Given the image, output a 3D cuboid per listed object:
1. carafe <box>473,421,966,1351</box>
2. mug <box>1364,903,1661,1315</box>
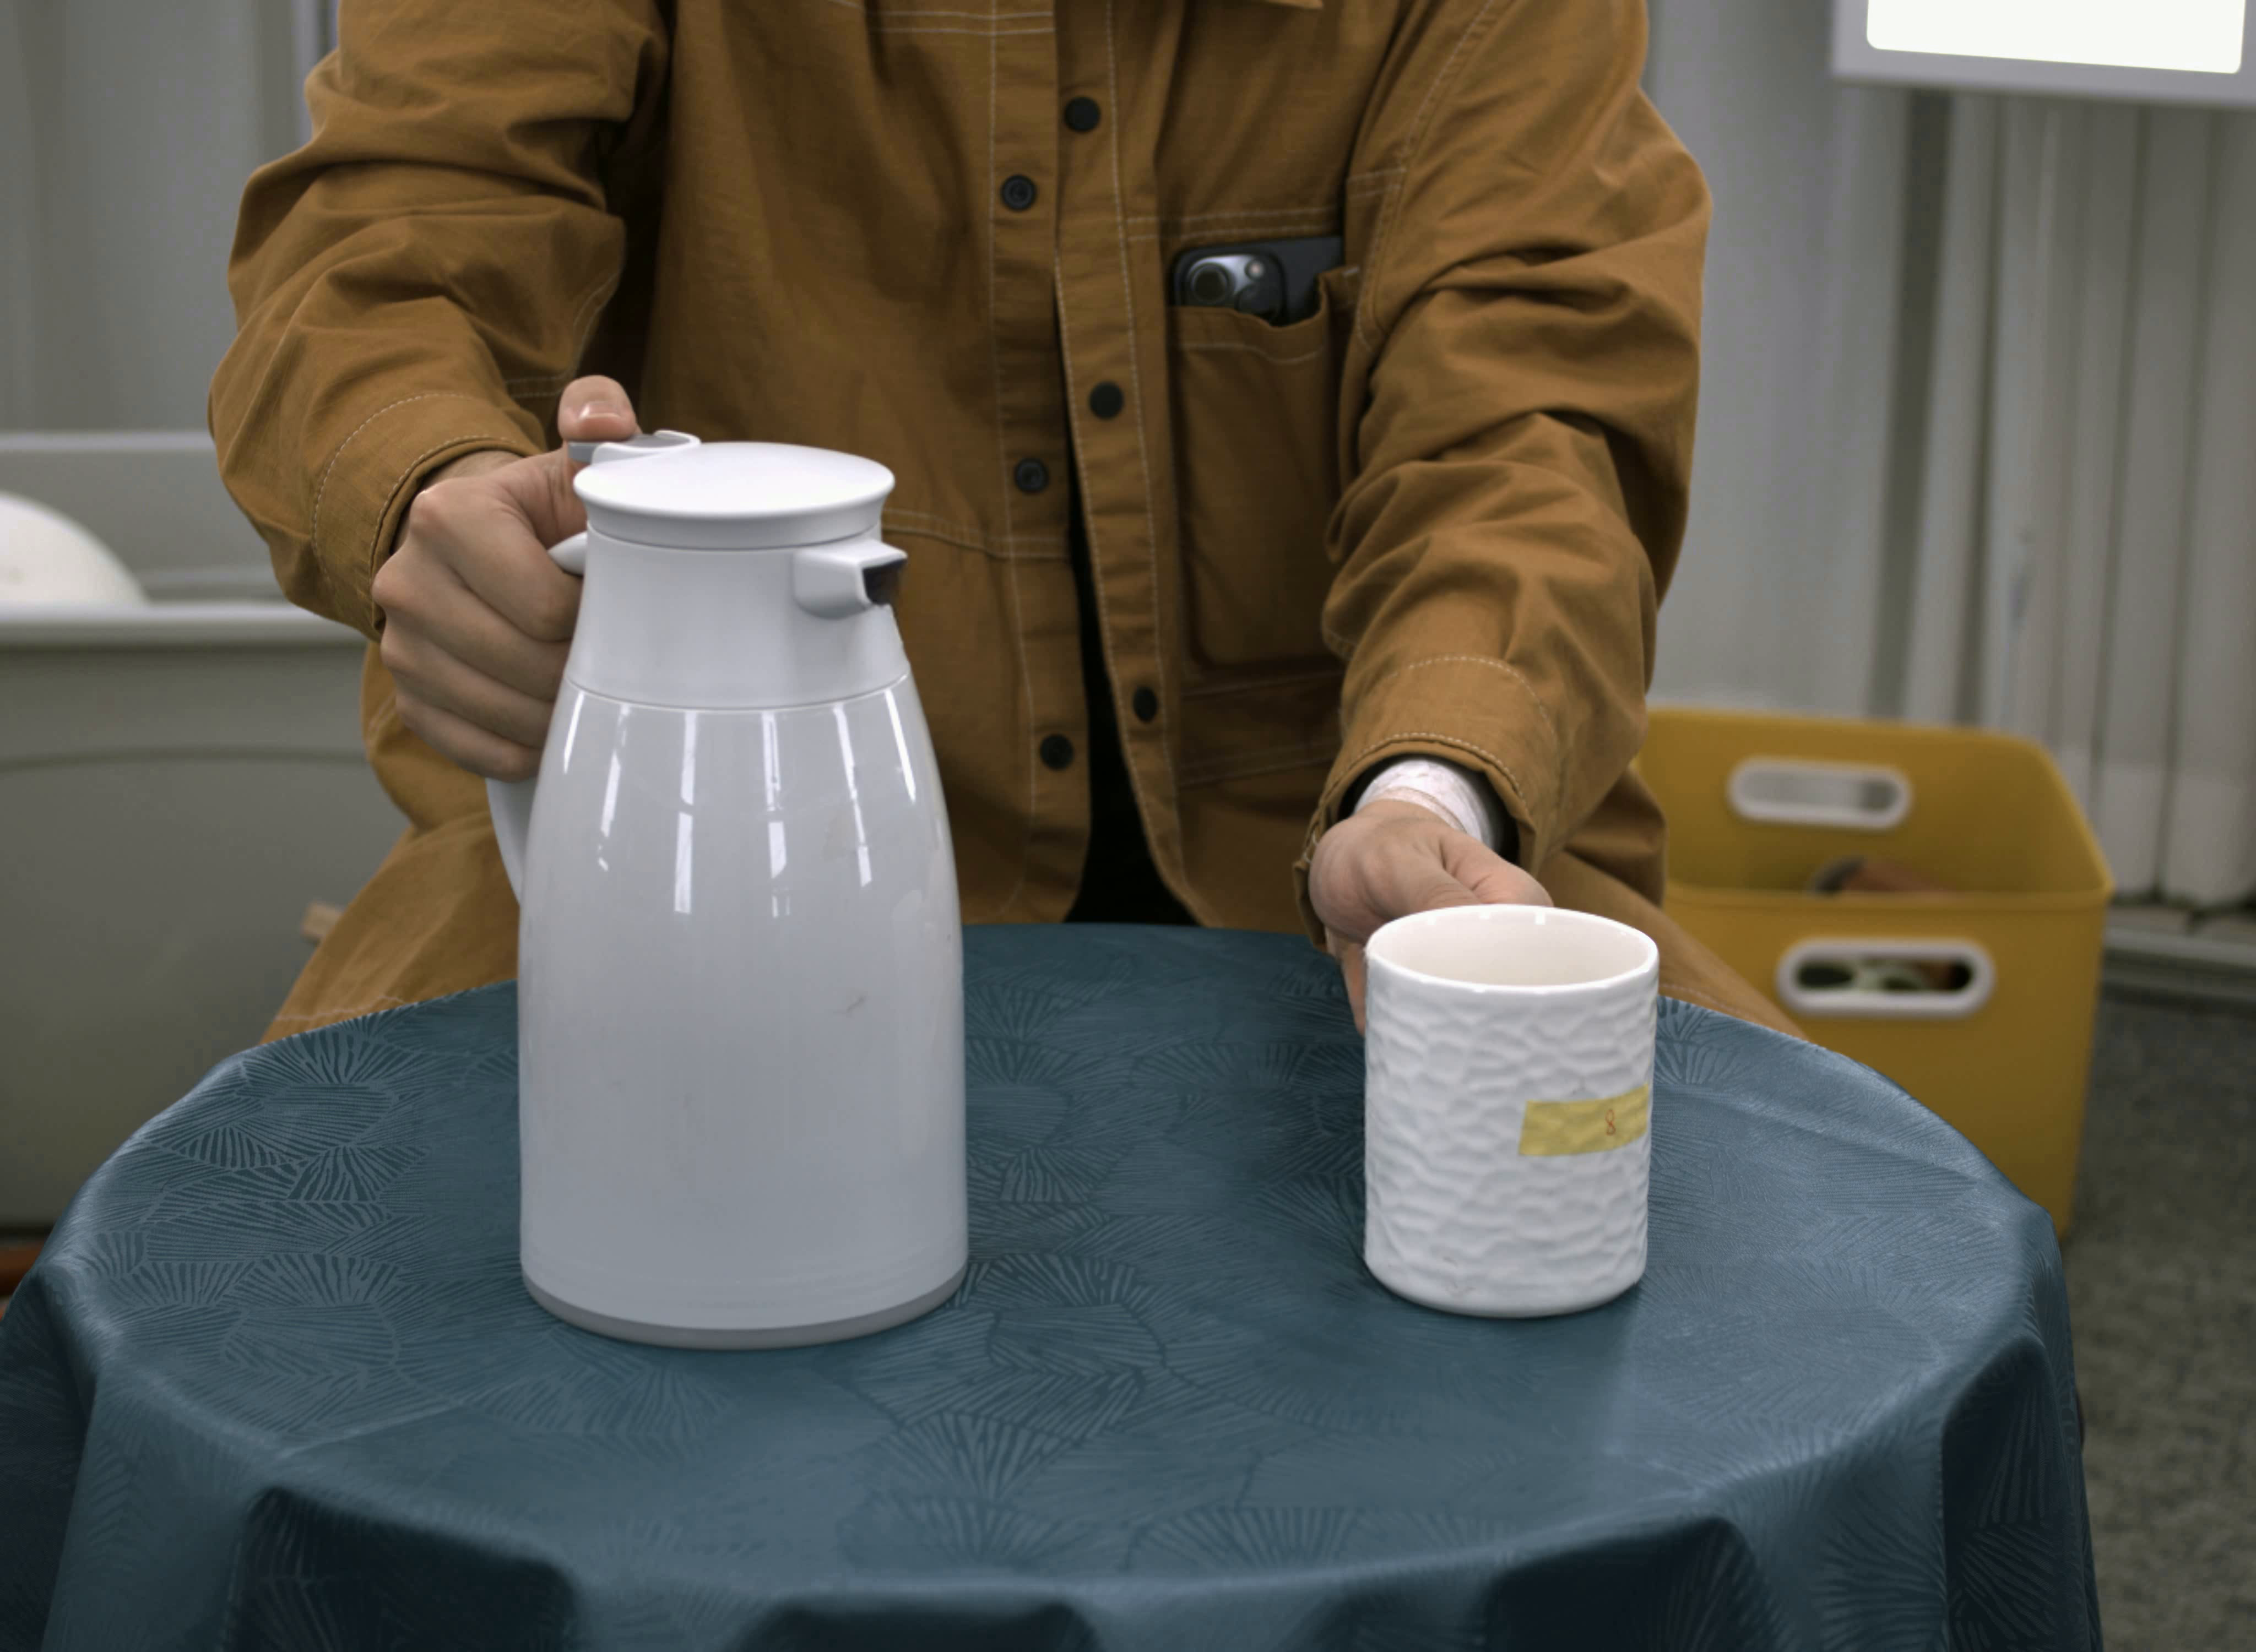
[{"bbox_3d":[-0.128,0.009,1.526,0.165,0.250,0.133,13,21,40],"label":"carafe"},{"bbox_3d":[0.107,0.079,1.556,0.085,0.103,0.117,-3,15,-15],"label":"mug"}]
